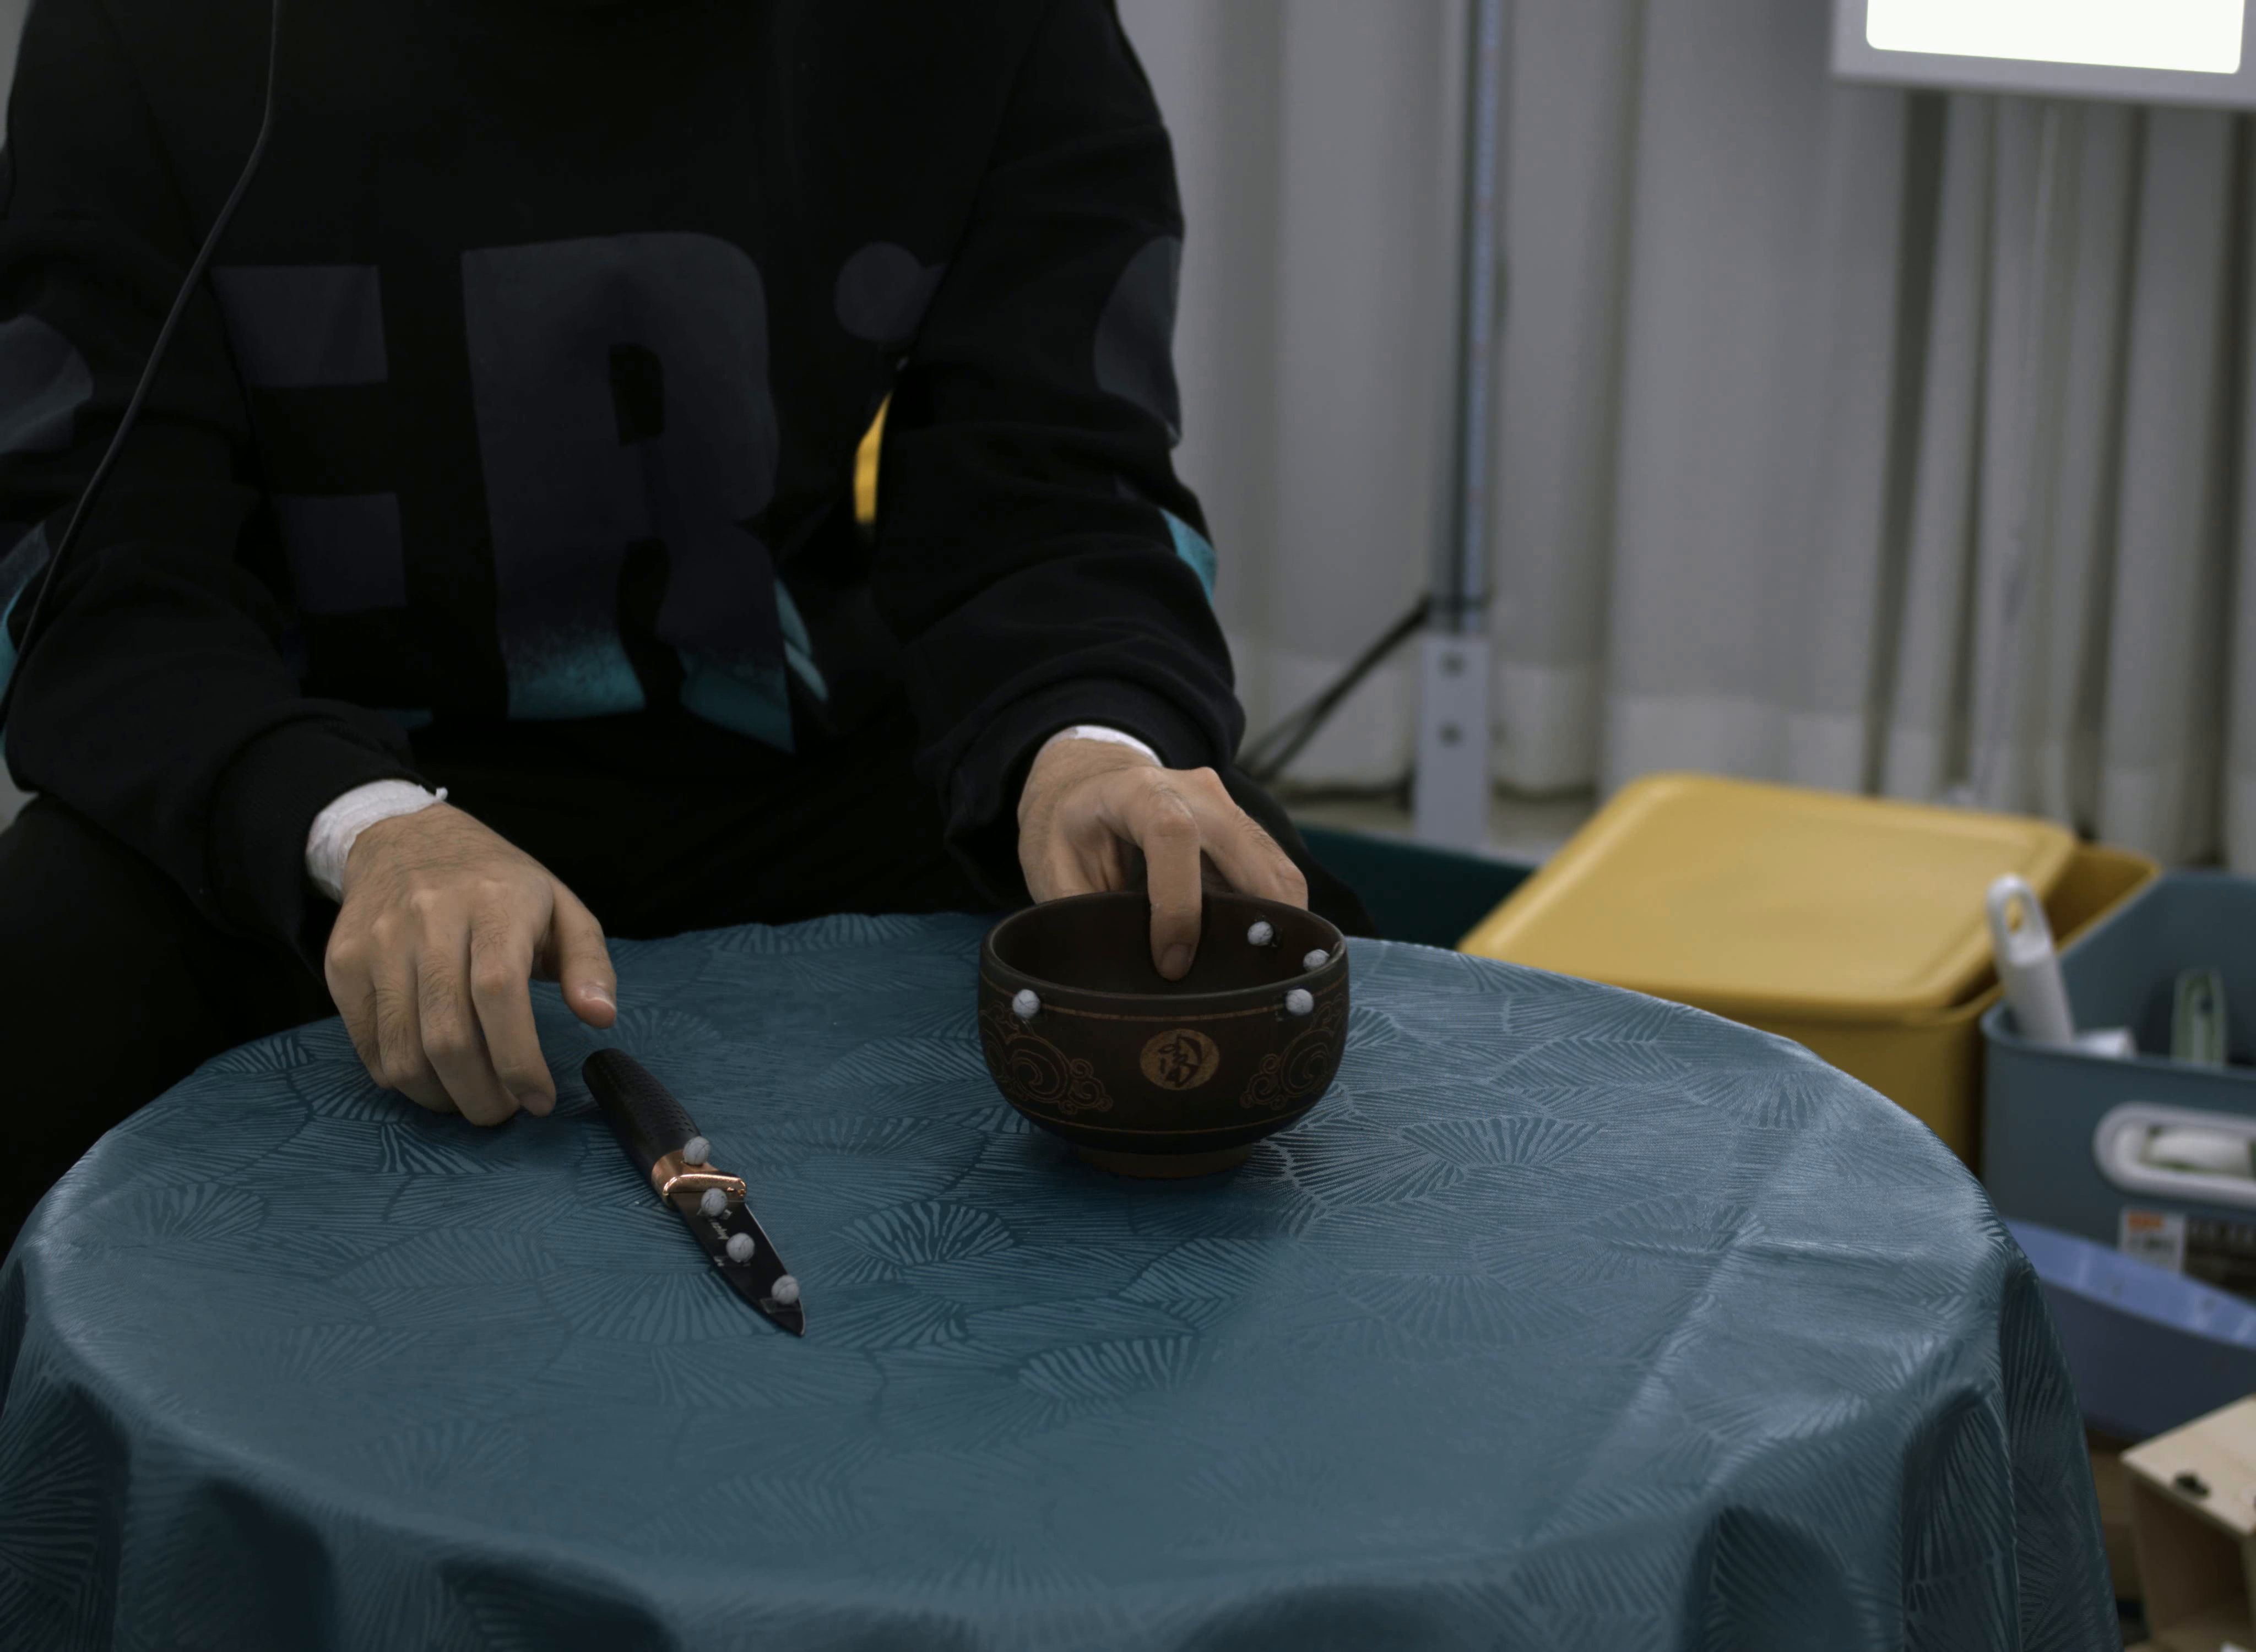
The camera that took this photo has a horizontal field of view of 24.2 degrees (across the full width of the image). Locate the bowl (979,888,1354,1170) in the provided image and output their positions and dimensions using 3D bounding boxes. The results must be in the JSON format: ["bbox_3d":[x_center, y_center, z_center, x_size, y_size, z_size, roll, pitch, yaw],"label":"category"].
[{"bbox_3d":[0.012,0.067,1.646,0.117,0.070,0.117,0,14,0],"label":"bowl"}]

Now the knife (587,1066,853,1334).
[{"bbox_3d":[-0.126,0.113,1.598,0.026,0.017,0.223,2,15,-23],"label":"knife"}]
